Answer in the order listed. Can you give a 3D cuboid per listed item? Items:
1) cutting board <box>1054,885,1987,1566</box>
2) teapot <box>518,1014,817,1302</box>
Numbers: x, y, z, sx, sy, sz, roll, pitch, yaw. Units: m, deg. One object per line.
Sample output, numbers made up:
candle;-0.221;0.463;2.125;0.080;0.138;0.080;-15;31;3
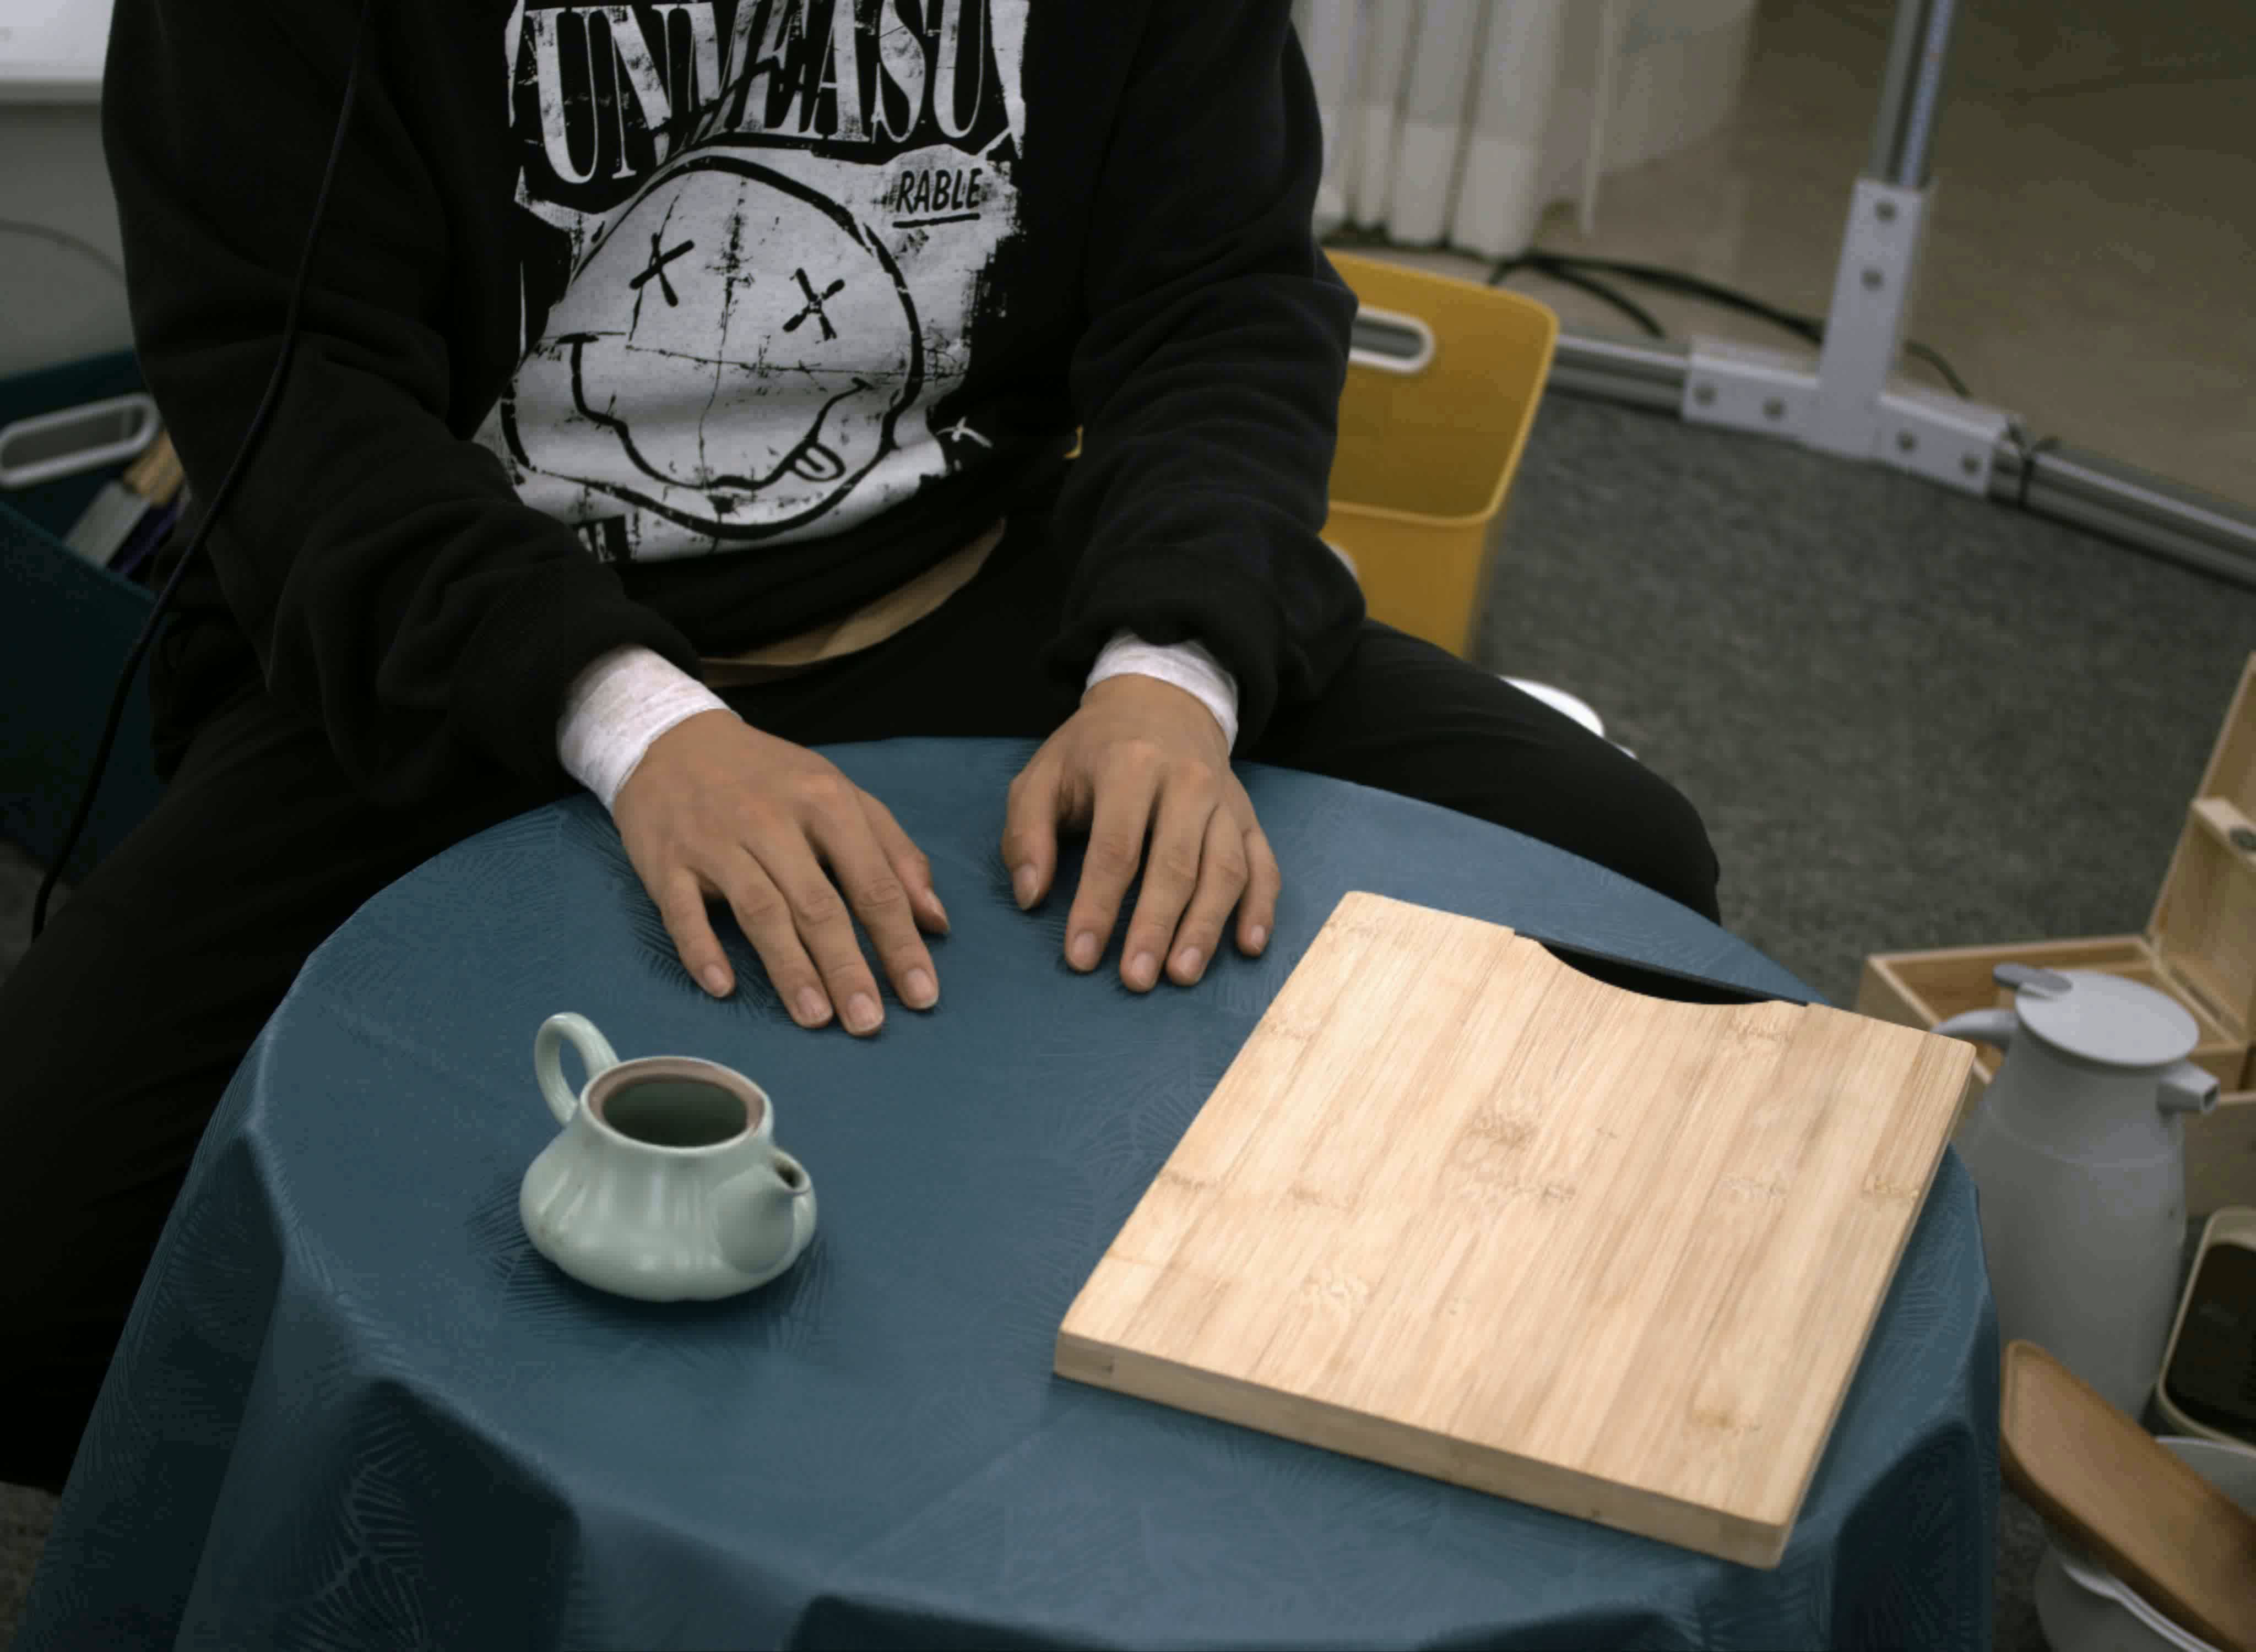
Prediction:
cutting board;0.143;0.126;1.815;0.251;0.023;0.349;13;28;13
teapot;-0.152;0.110;1.730;0.096;0.061;0.138;-20;38;-40
